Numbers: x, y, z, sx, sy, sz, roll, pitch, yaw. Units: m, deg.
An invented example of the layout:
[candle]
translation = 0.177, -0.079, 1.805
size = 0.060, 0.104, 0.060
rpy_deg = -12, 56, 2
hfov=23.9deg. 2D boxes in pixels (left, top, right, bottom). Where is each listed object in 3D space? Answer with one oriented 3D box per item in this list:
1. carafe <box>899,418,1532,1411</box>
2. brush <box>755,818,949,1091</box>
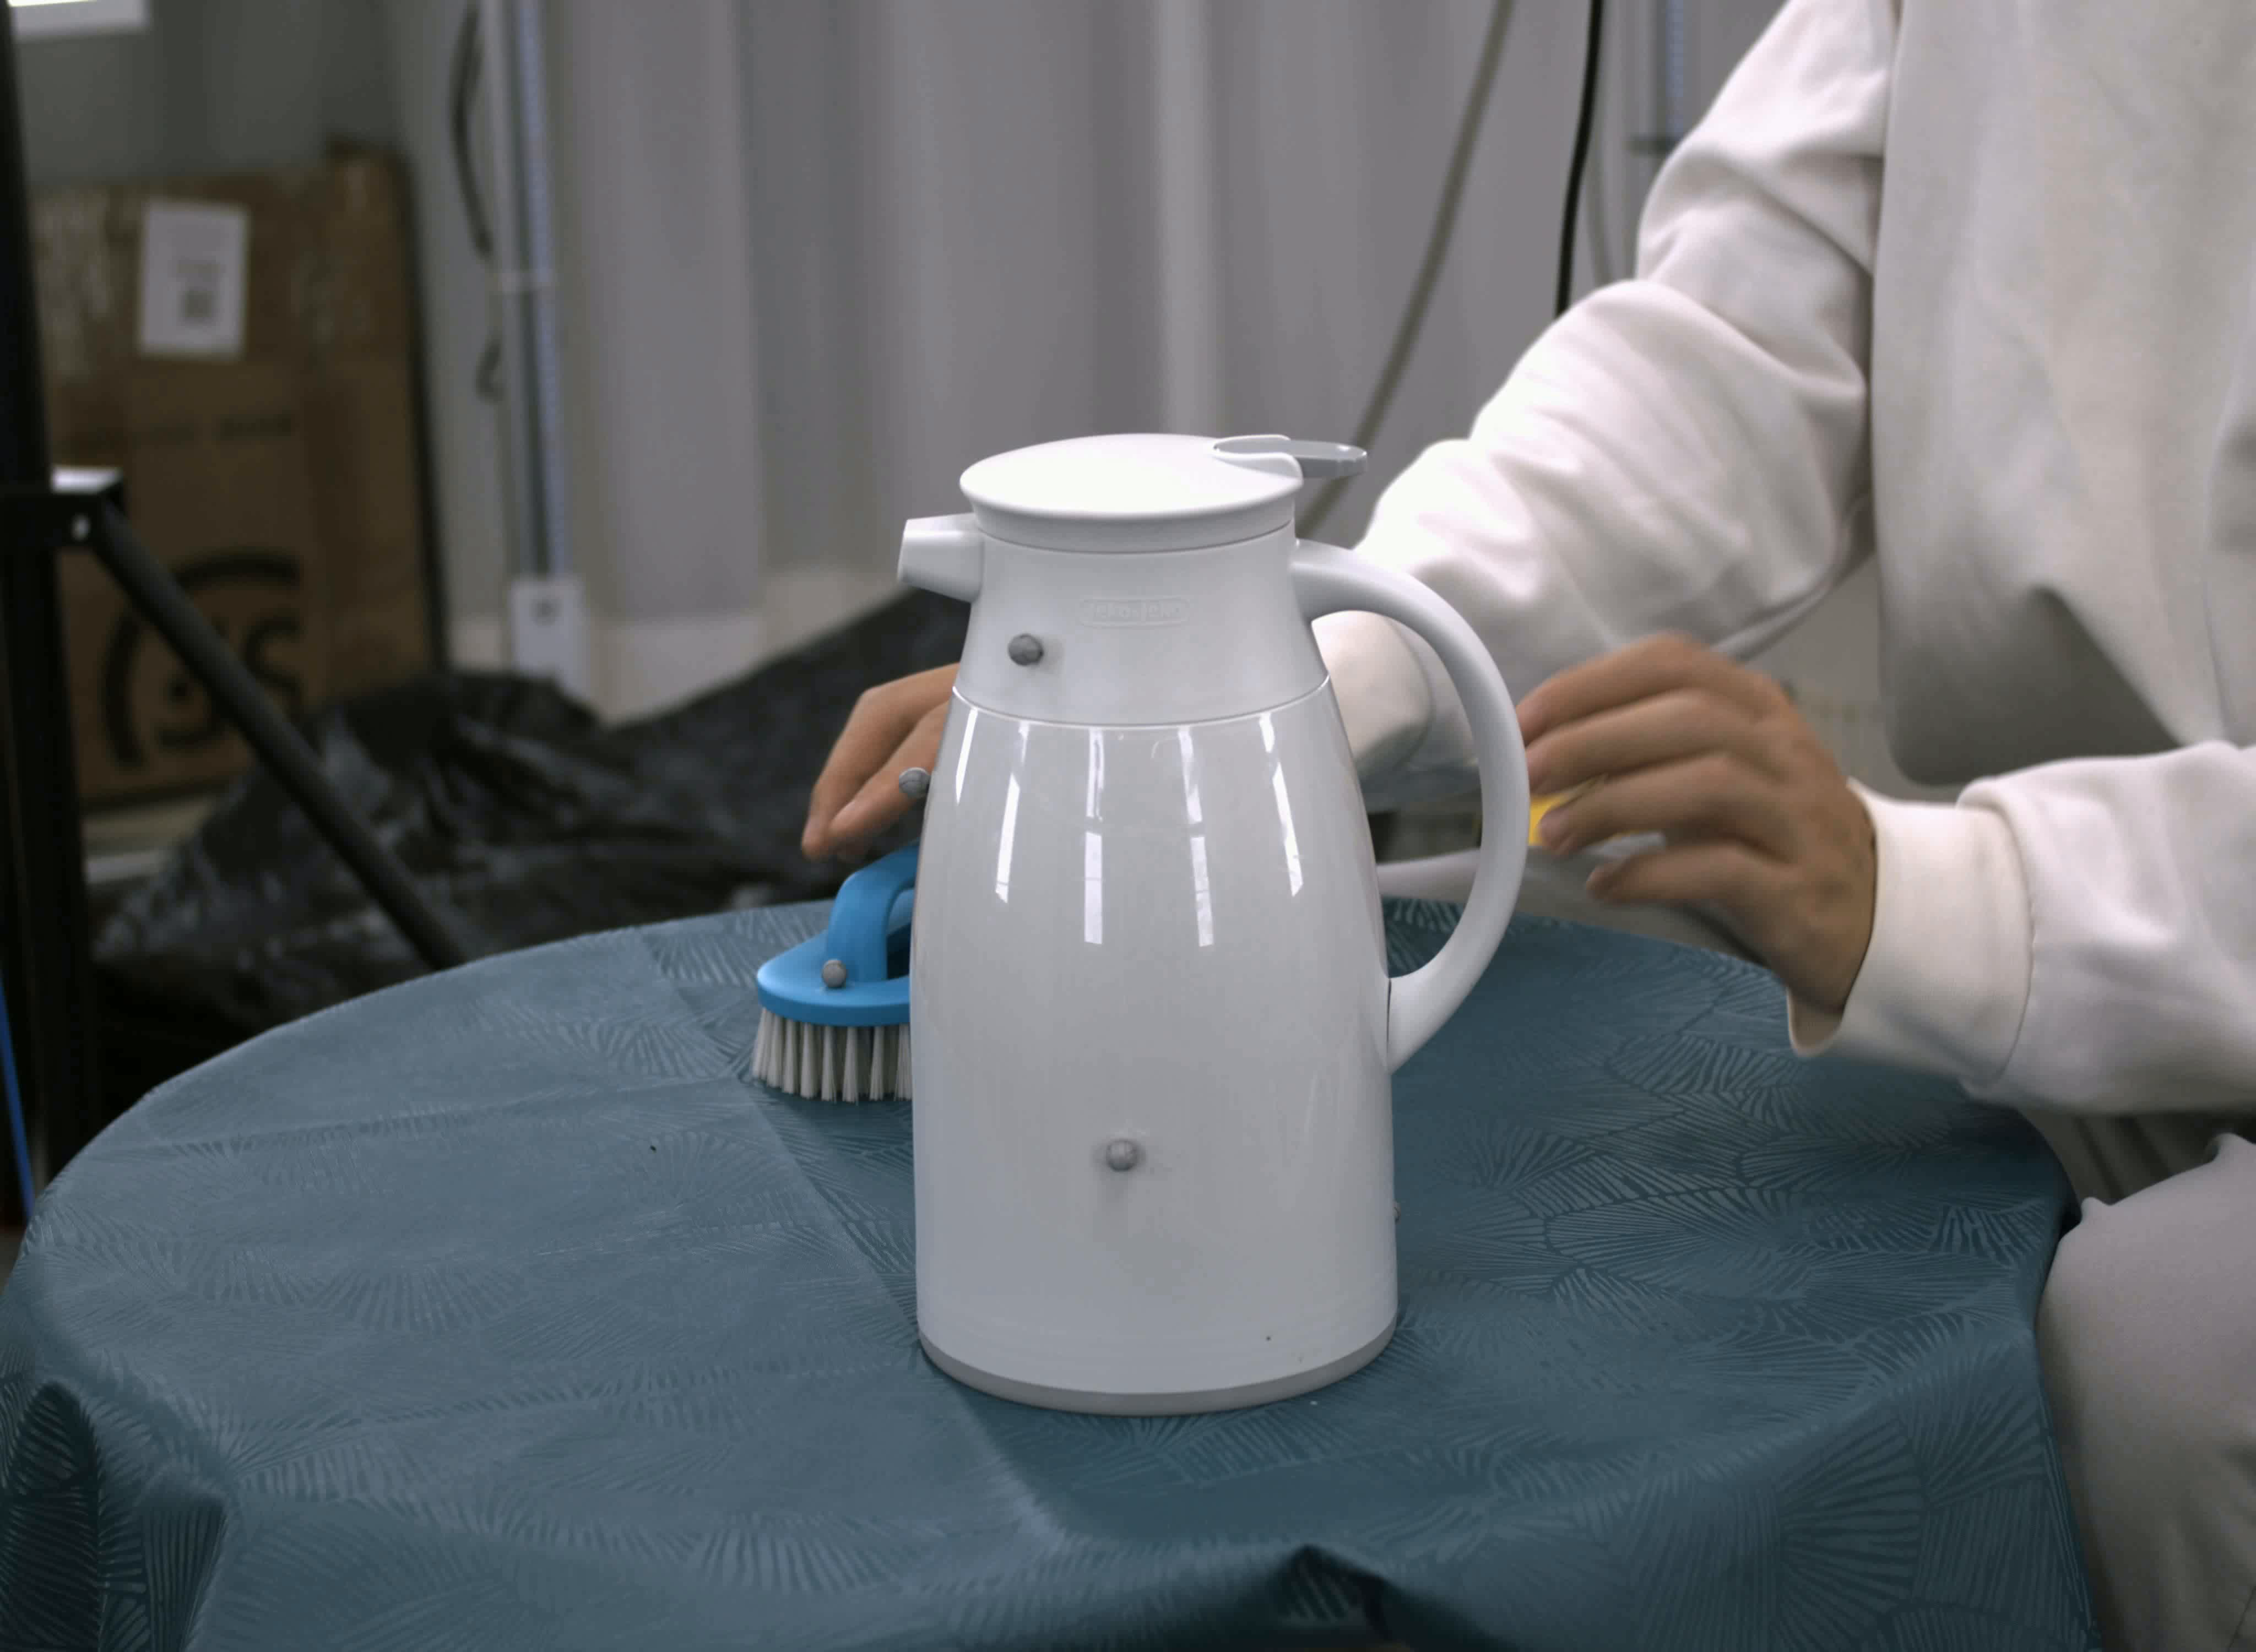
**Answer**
[carafe]
translation = 0.025, 0.016, 1.422
size = 0.167, 0.248, 0.133
rpy_deg = -1, 15, 2
[brush]
translation = -0.065, 0.035, 1.703
size = 0.086, 0.064, 0.139
rpy_deg = 1, 16, 30
